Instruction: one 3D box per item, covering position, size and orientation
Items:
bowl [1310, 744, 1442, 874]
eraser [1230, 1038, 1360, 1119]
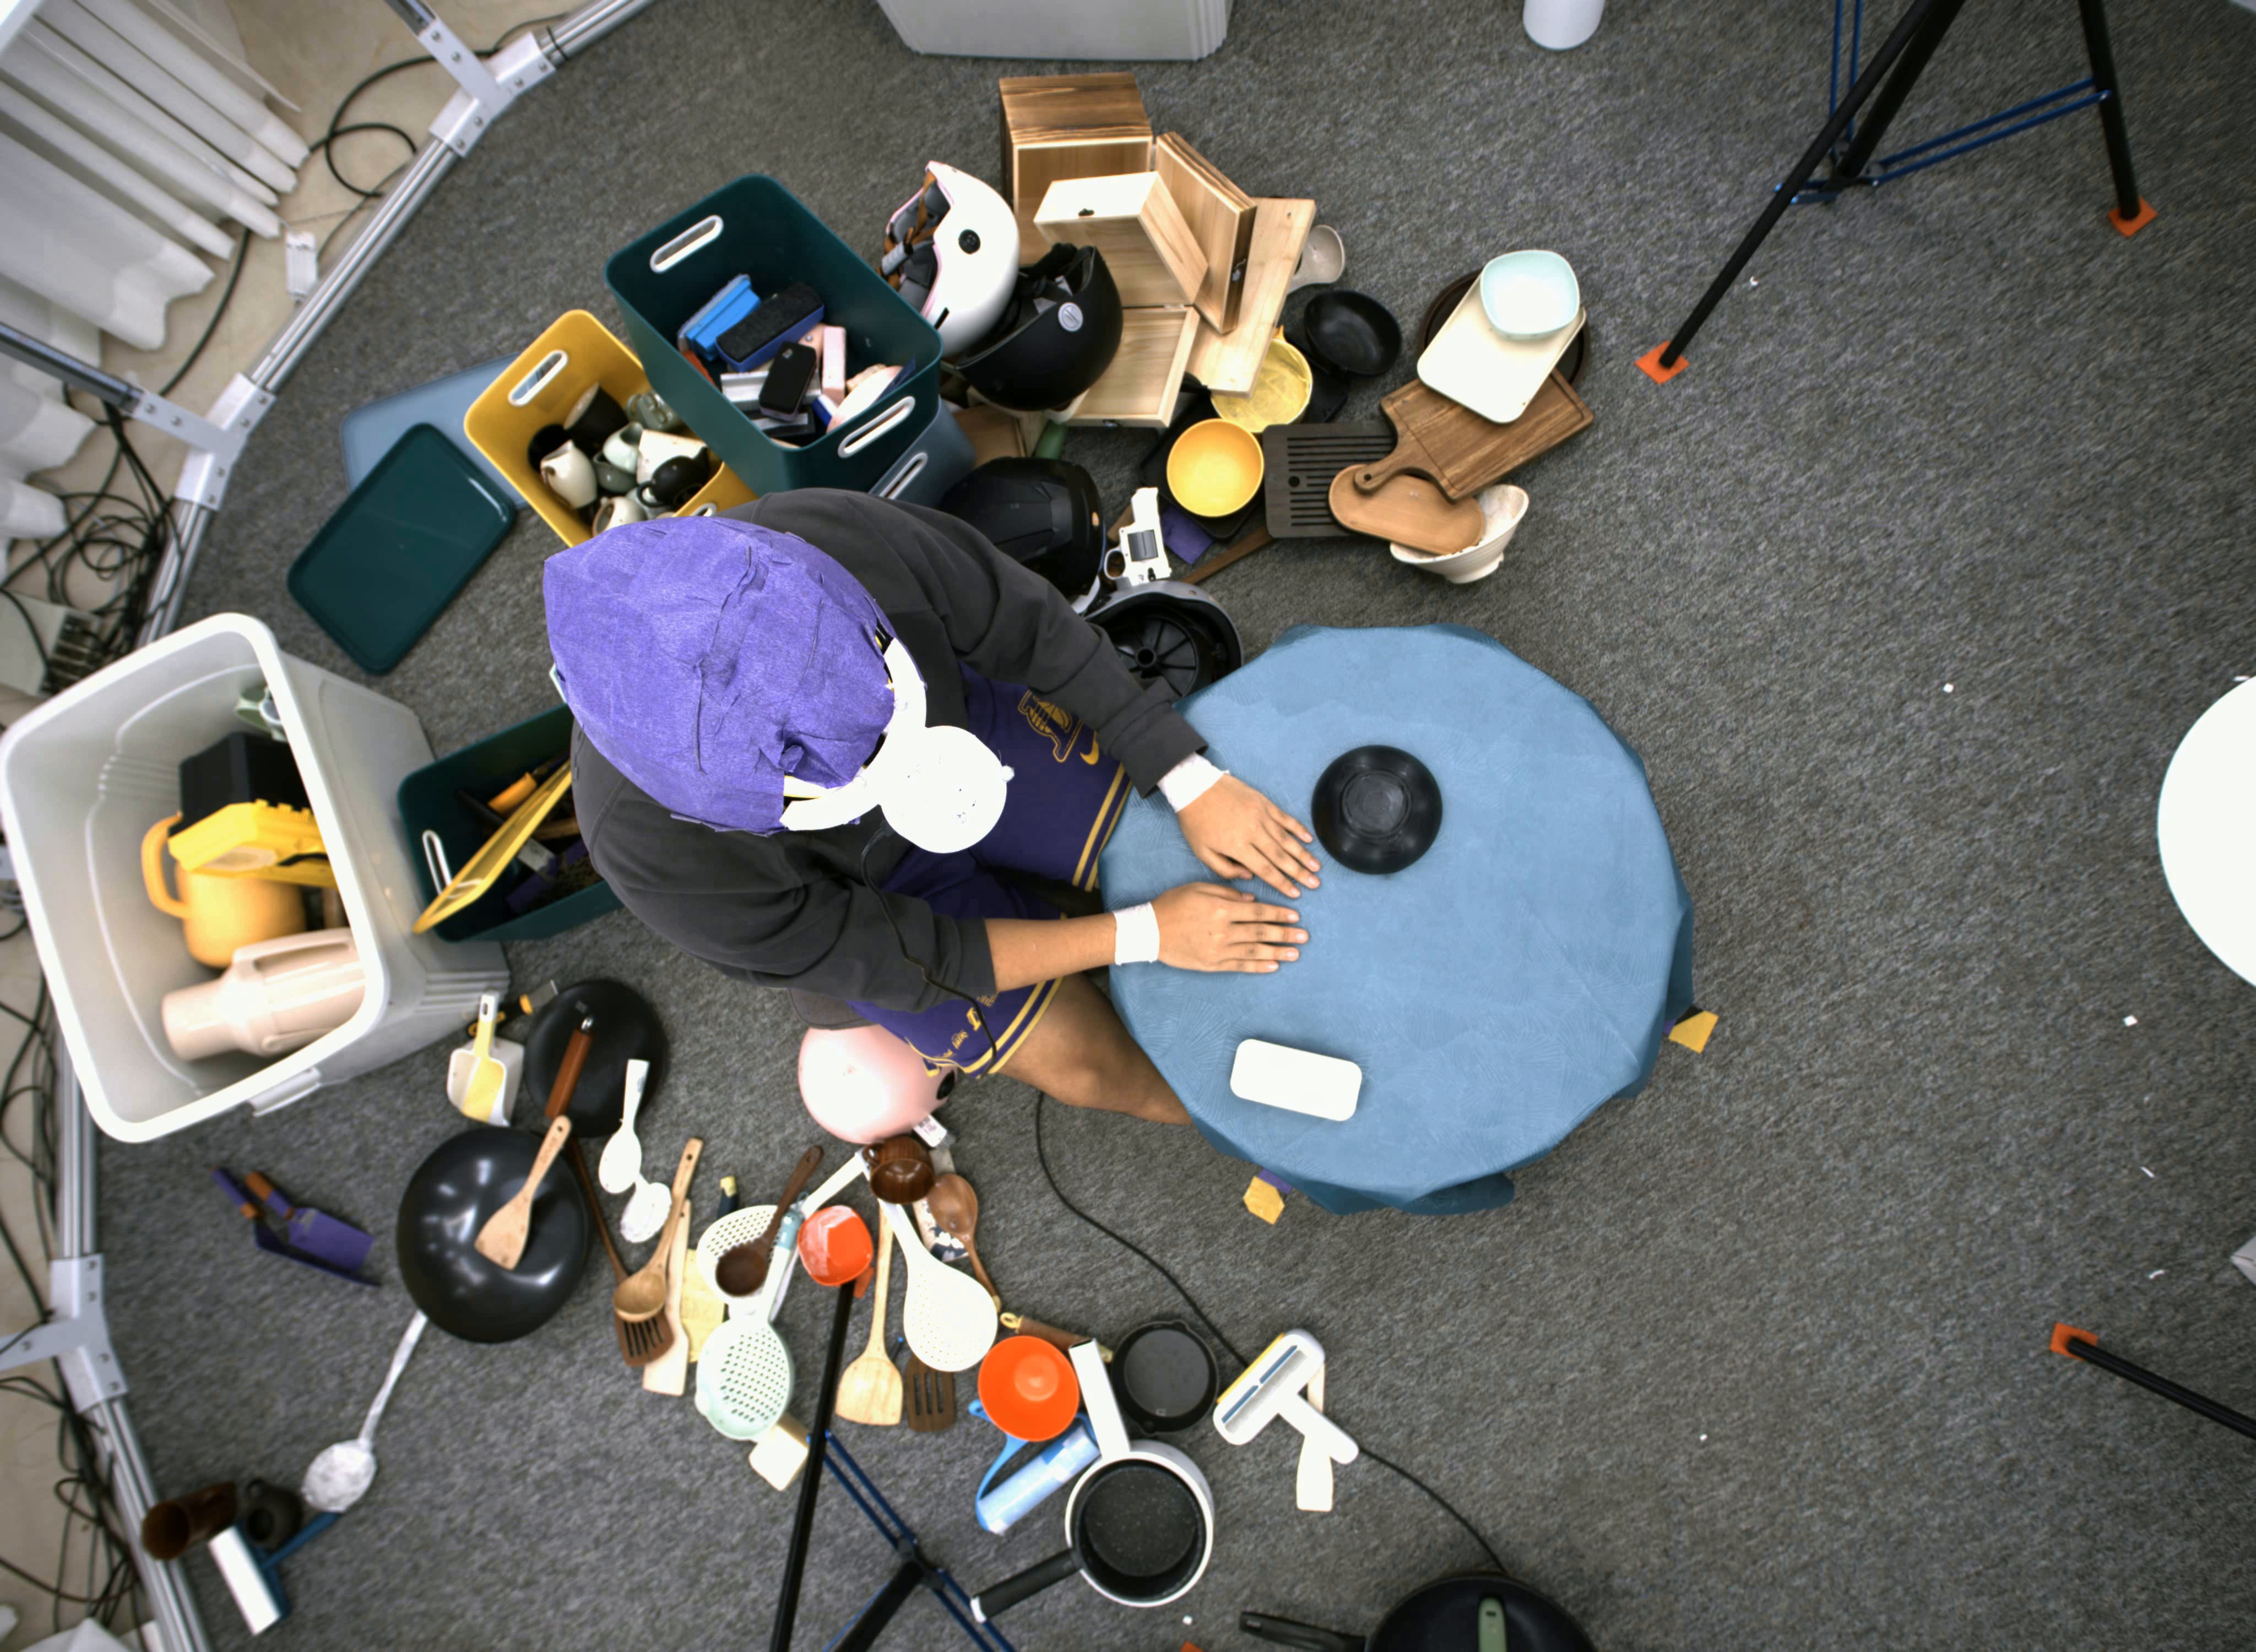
[{"bbox_3d":[0.259,-0.022,1.440,0.140,0.050,0.139,-1,88,9],"label":"bowl"},{"bbox_3d":[0.175,0.261,1.450,0.131,0.034,0.063,13,88,9],"label":"eraser"}]
